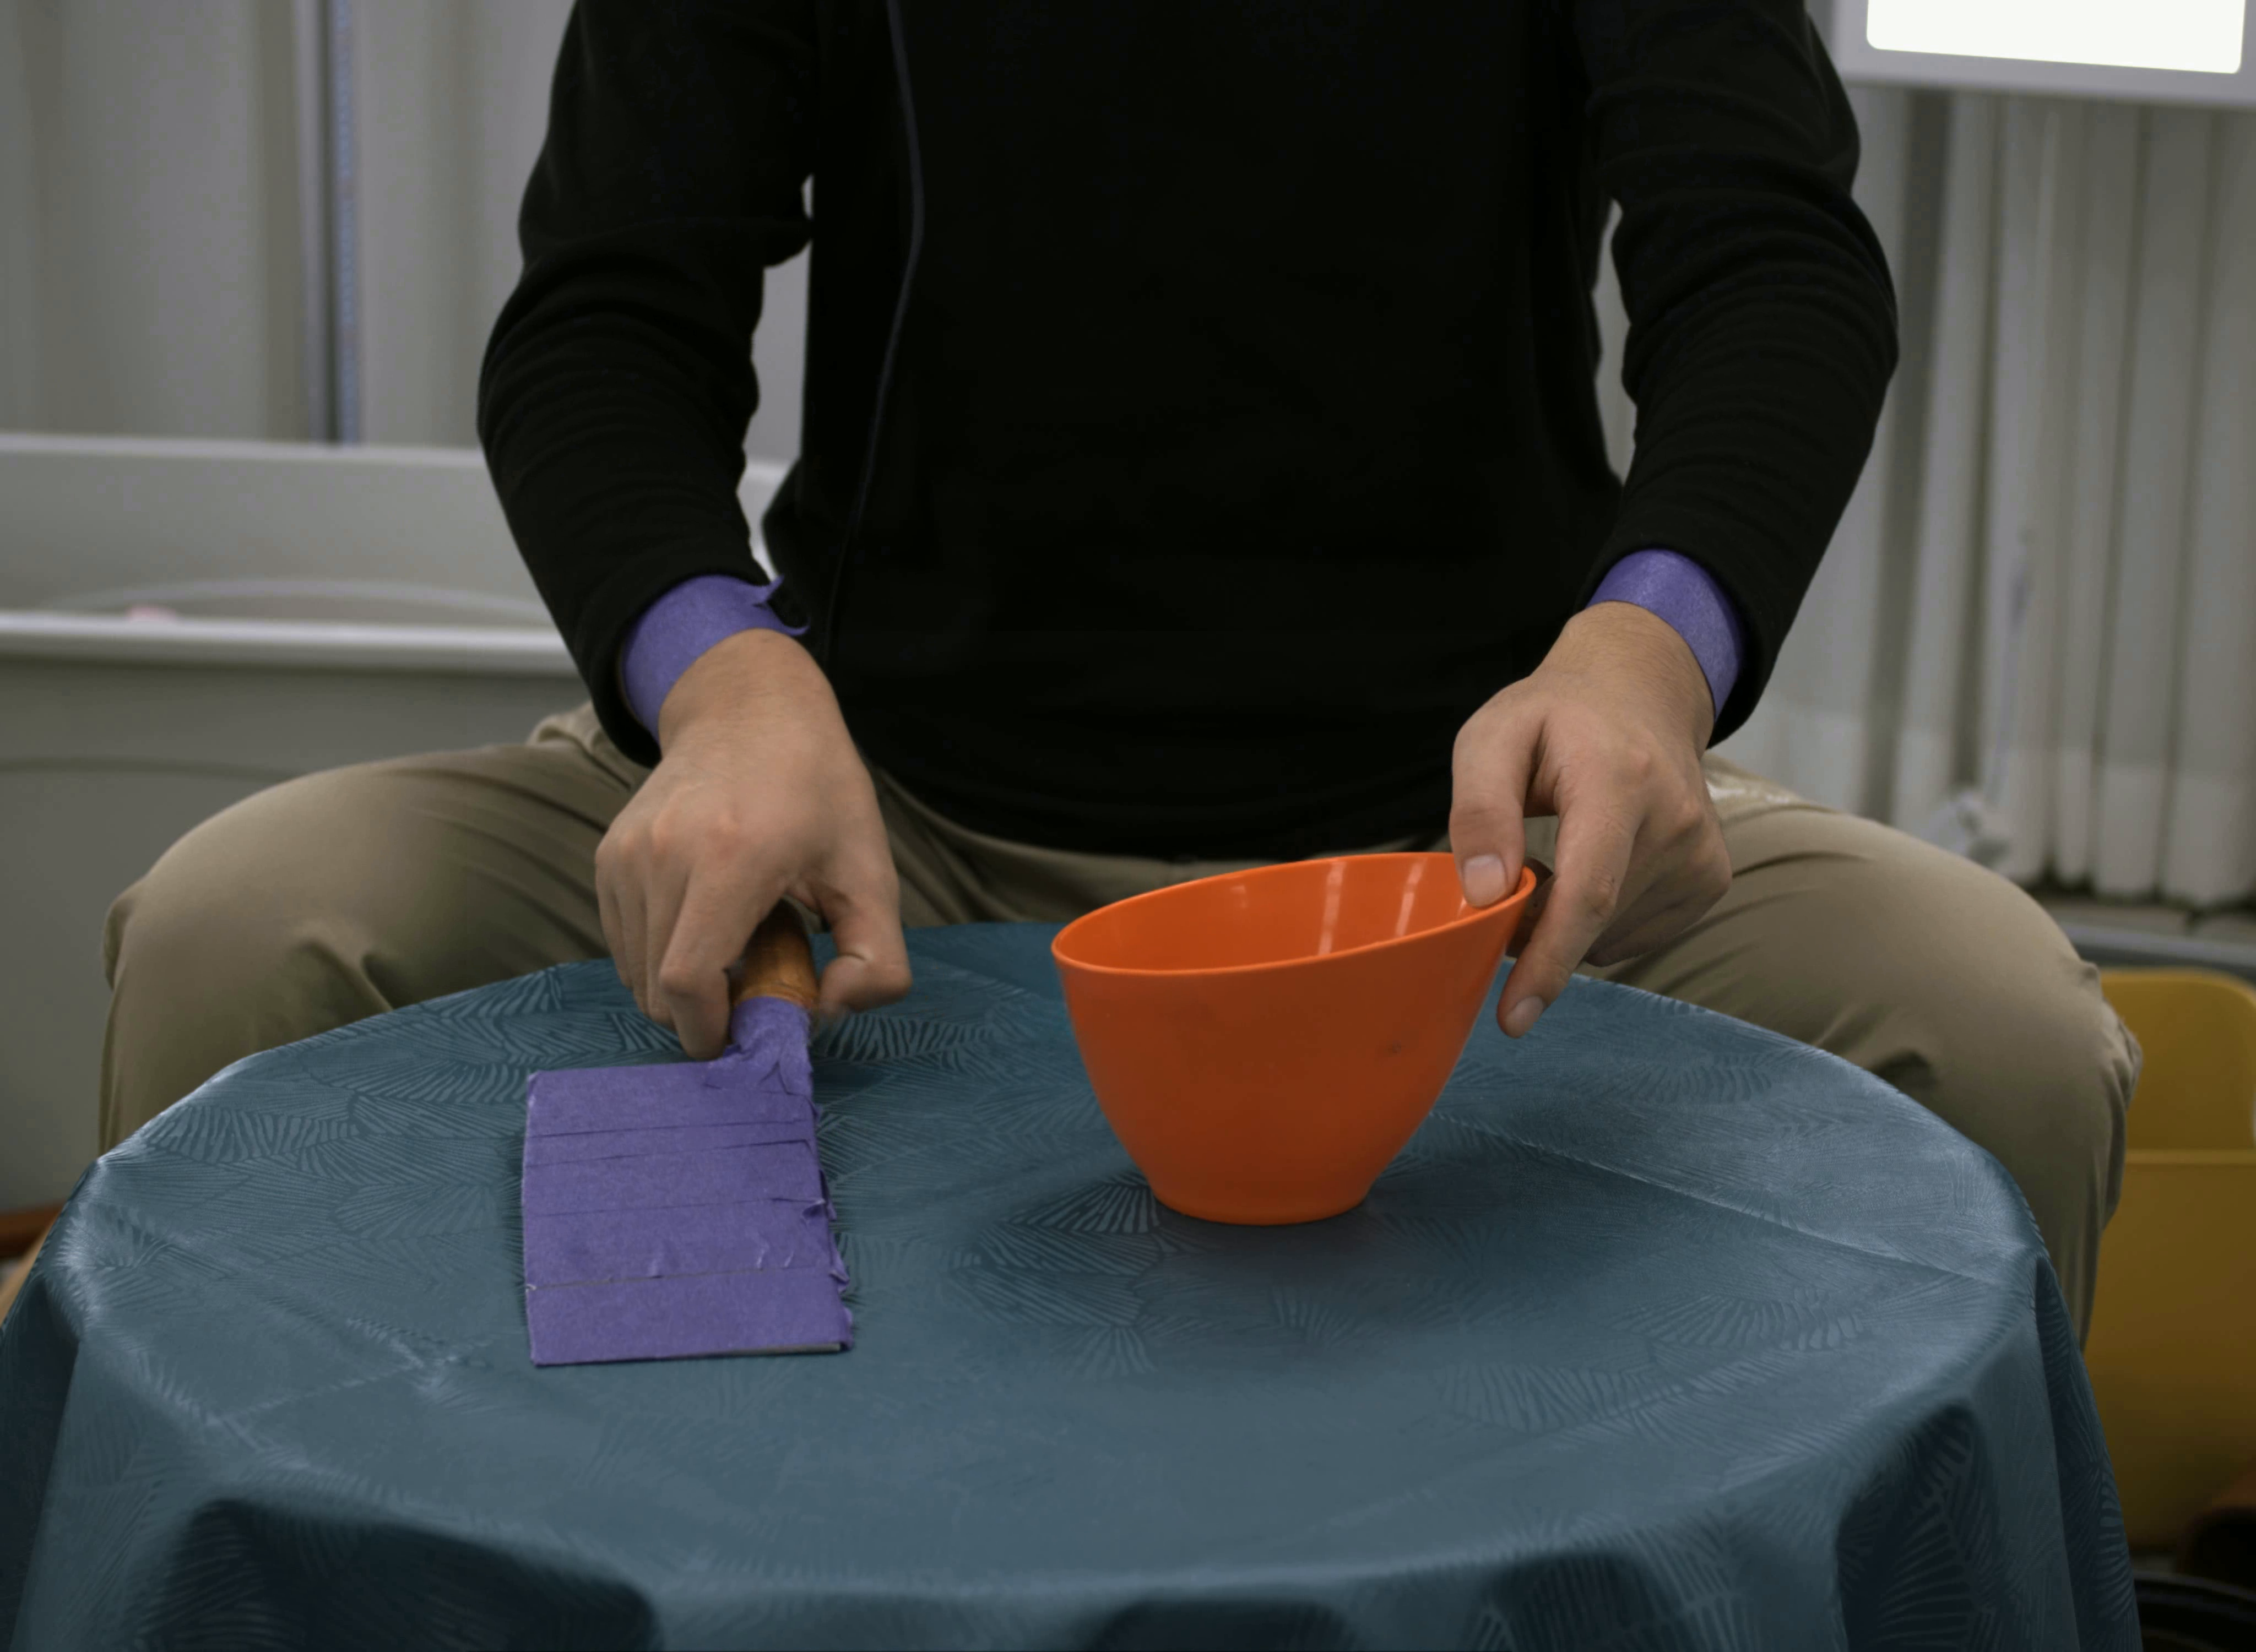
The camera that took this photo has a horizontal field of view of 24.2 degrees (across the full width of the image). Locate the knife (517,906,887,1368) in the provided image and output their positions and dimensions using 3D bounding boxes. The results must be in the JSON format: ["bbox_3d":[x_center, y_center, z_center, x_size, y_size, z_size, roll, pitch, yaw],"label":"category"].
[{"bbox_3d":[-0.136,0.091,1.620,0.104,0.032,0.312,-1,19,-7],"label":"knife"}]

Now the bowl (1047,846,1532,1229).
[{"bbox_3d":[0.049,0.065,1.604,0.147,0.105,0.147,-1,17,1],"label":"bowl"}]
